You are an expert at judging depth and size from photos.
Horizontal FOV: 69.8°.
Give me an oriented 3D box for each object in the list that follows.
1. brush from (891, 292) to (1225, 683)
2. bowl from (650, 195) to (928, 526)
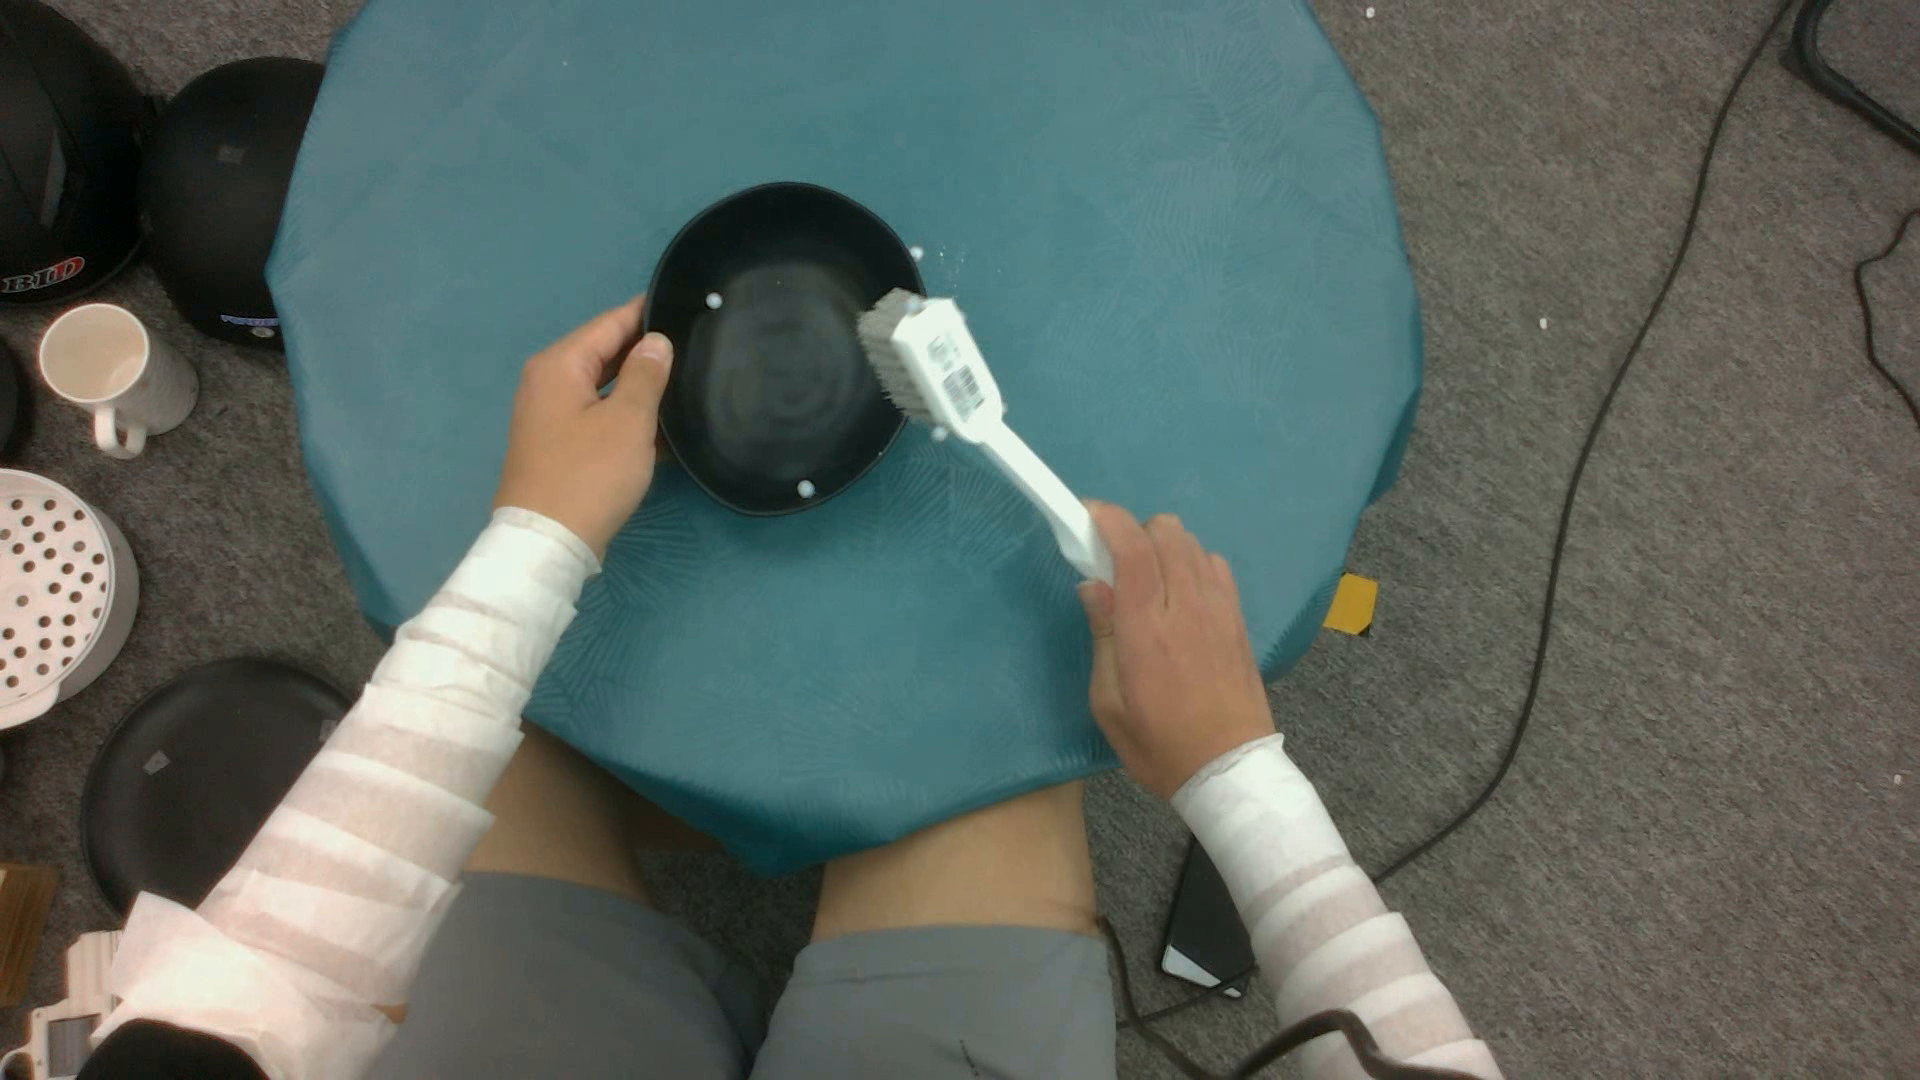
[{"bbox_3d":[0.049,-0.020,0.678,0.243,0.050,0.034,53,50,-17],"label":"brush"},{"bbox_3d":[-0.084,-0.086,0.701,0.137,0.066,0.170,8,78,-4],"label":"bowl"}]
